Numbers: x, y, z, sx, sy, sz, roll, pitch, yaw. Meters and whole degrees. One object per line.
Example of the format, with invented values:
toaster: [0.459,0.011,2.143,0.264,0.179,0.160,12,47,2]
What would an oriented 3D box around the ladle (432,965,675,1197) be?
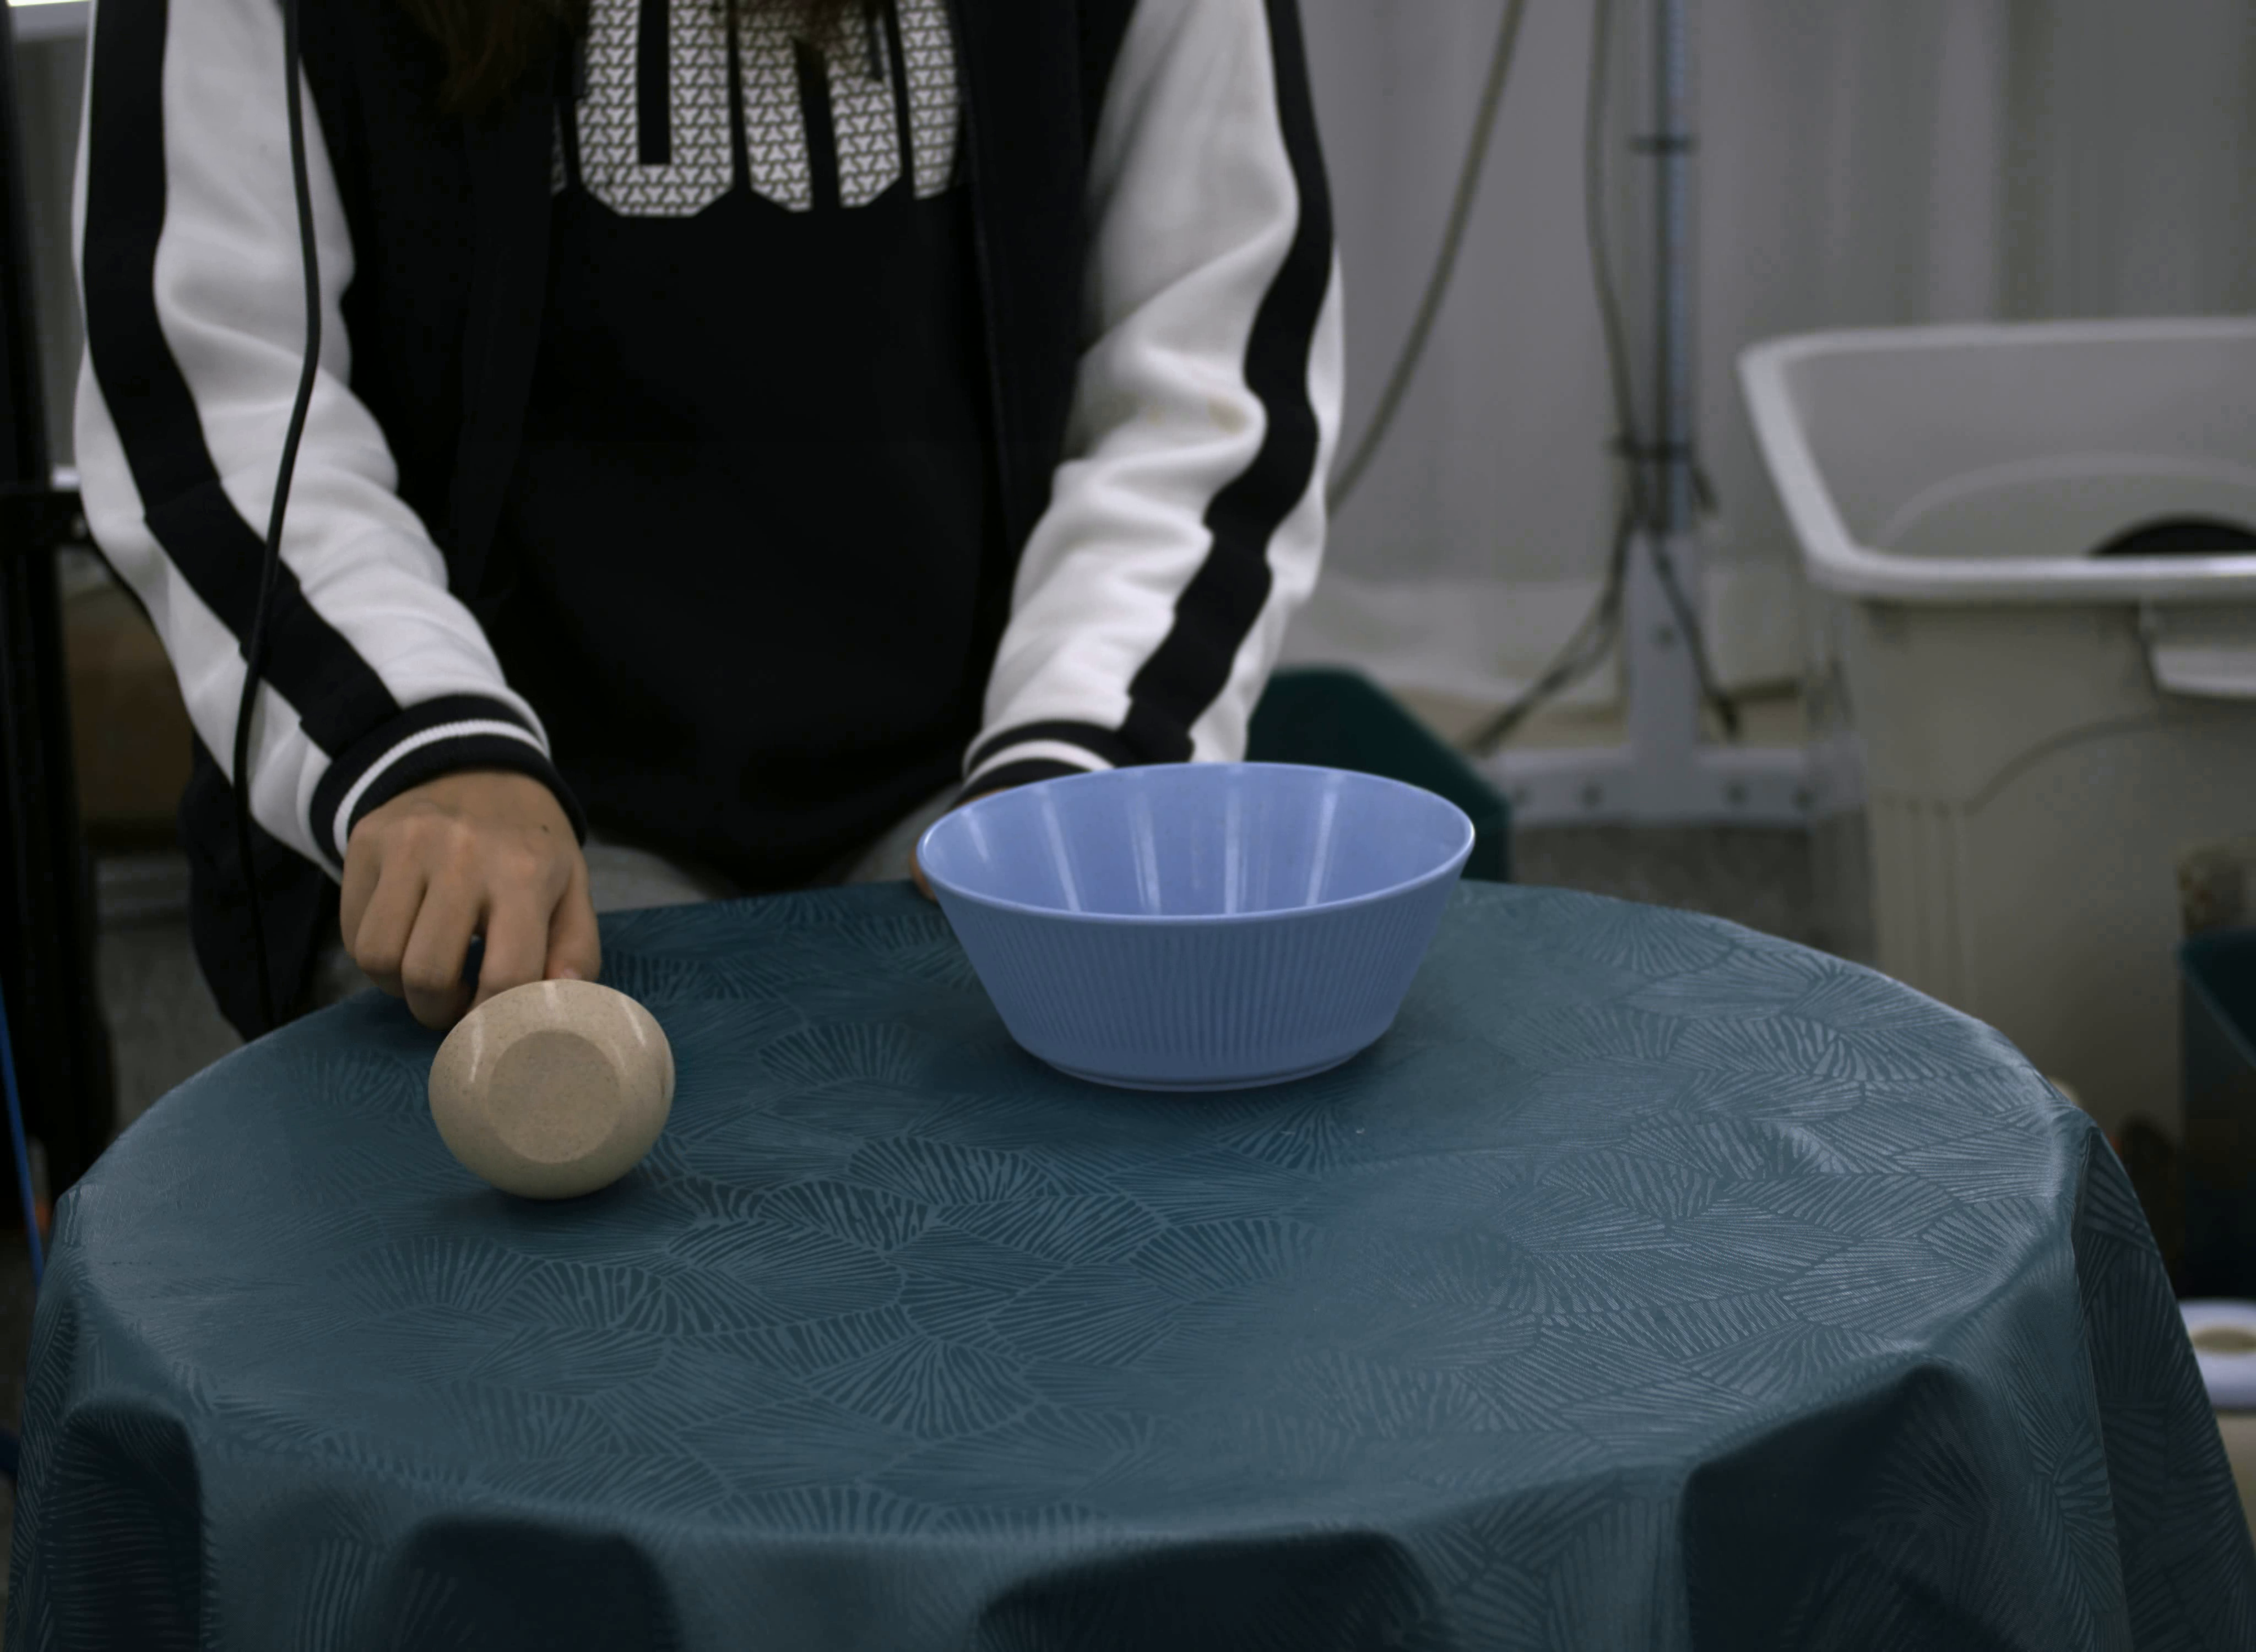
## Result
ladle: [-0.188,0.050,1.663,0.071,0.072,0.257,-16,17,-7]

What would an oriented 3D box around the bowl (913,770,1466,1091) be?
bowl: [0.020,0.035,1.684,0.175,0.070,0.177,-2,16,-1]
